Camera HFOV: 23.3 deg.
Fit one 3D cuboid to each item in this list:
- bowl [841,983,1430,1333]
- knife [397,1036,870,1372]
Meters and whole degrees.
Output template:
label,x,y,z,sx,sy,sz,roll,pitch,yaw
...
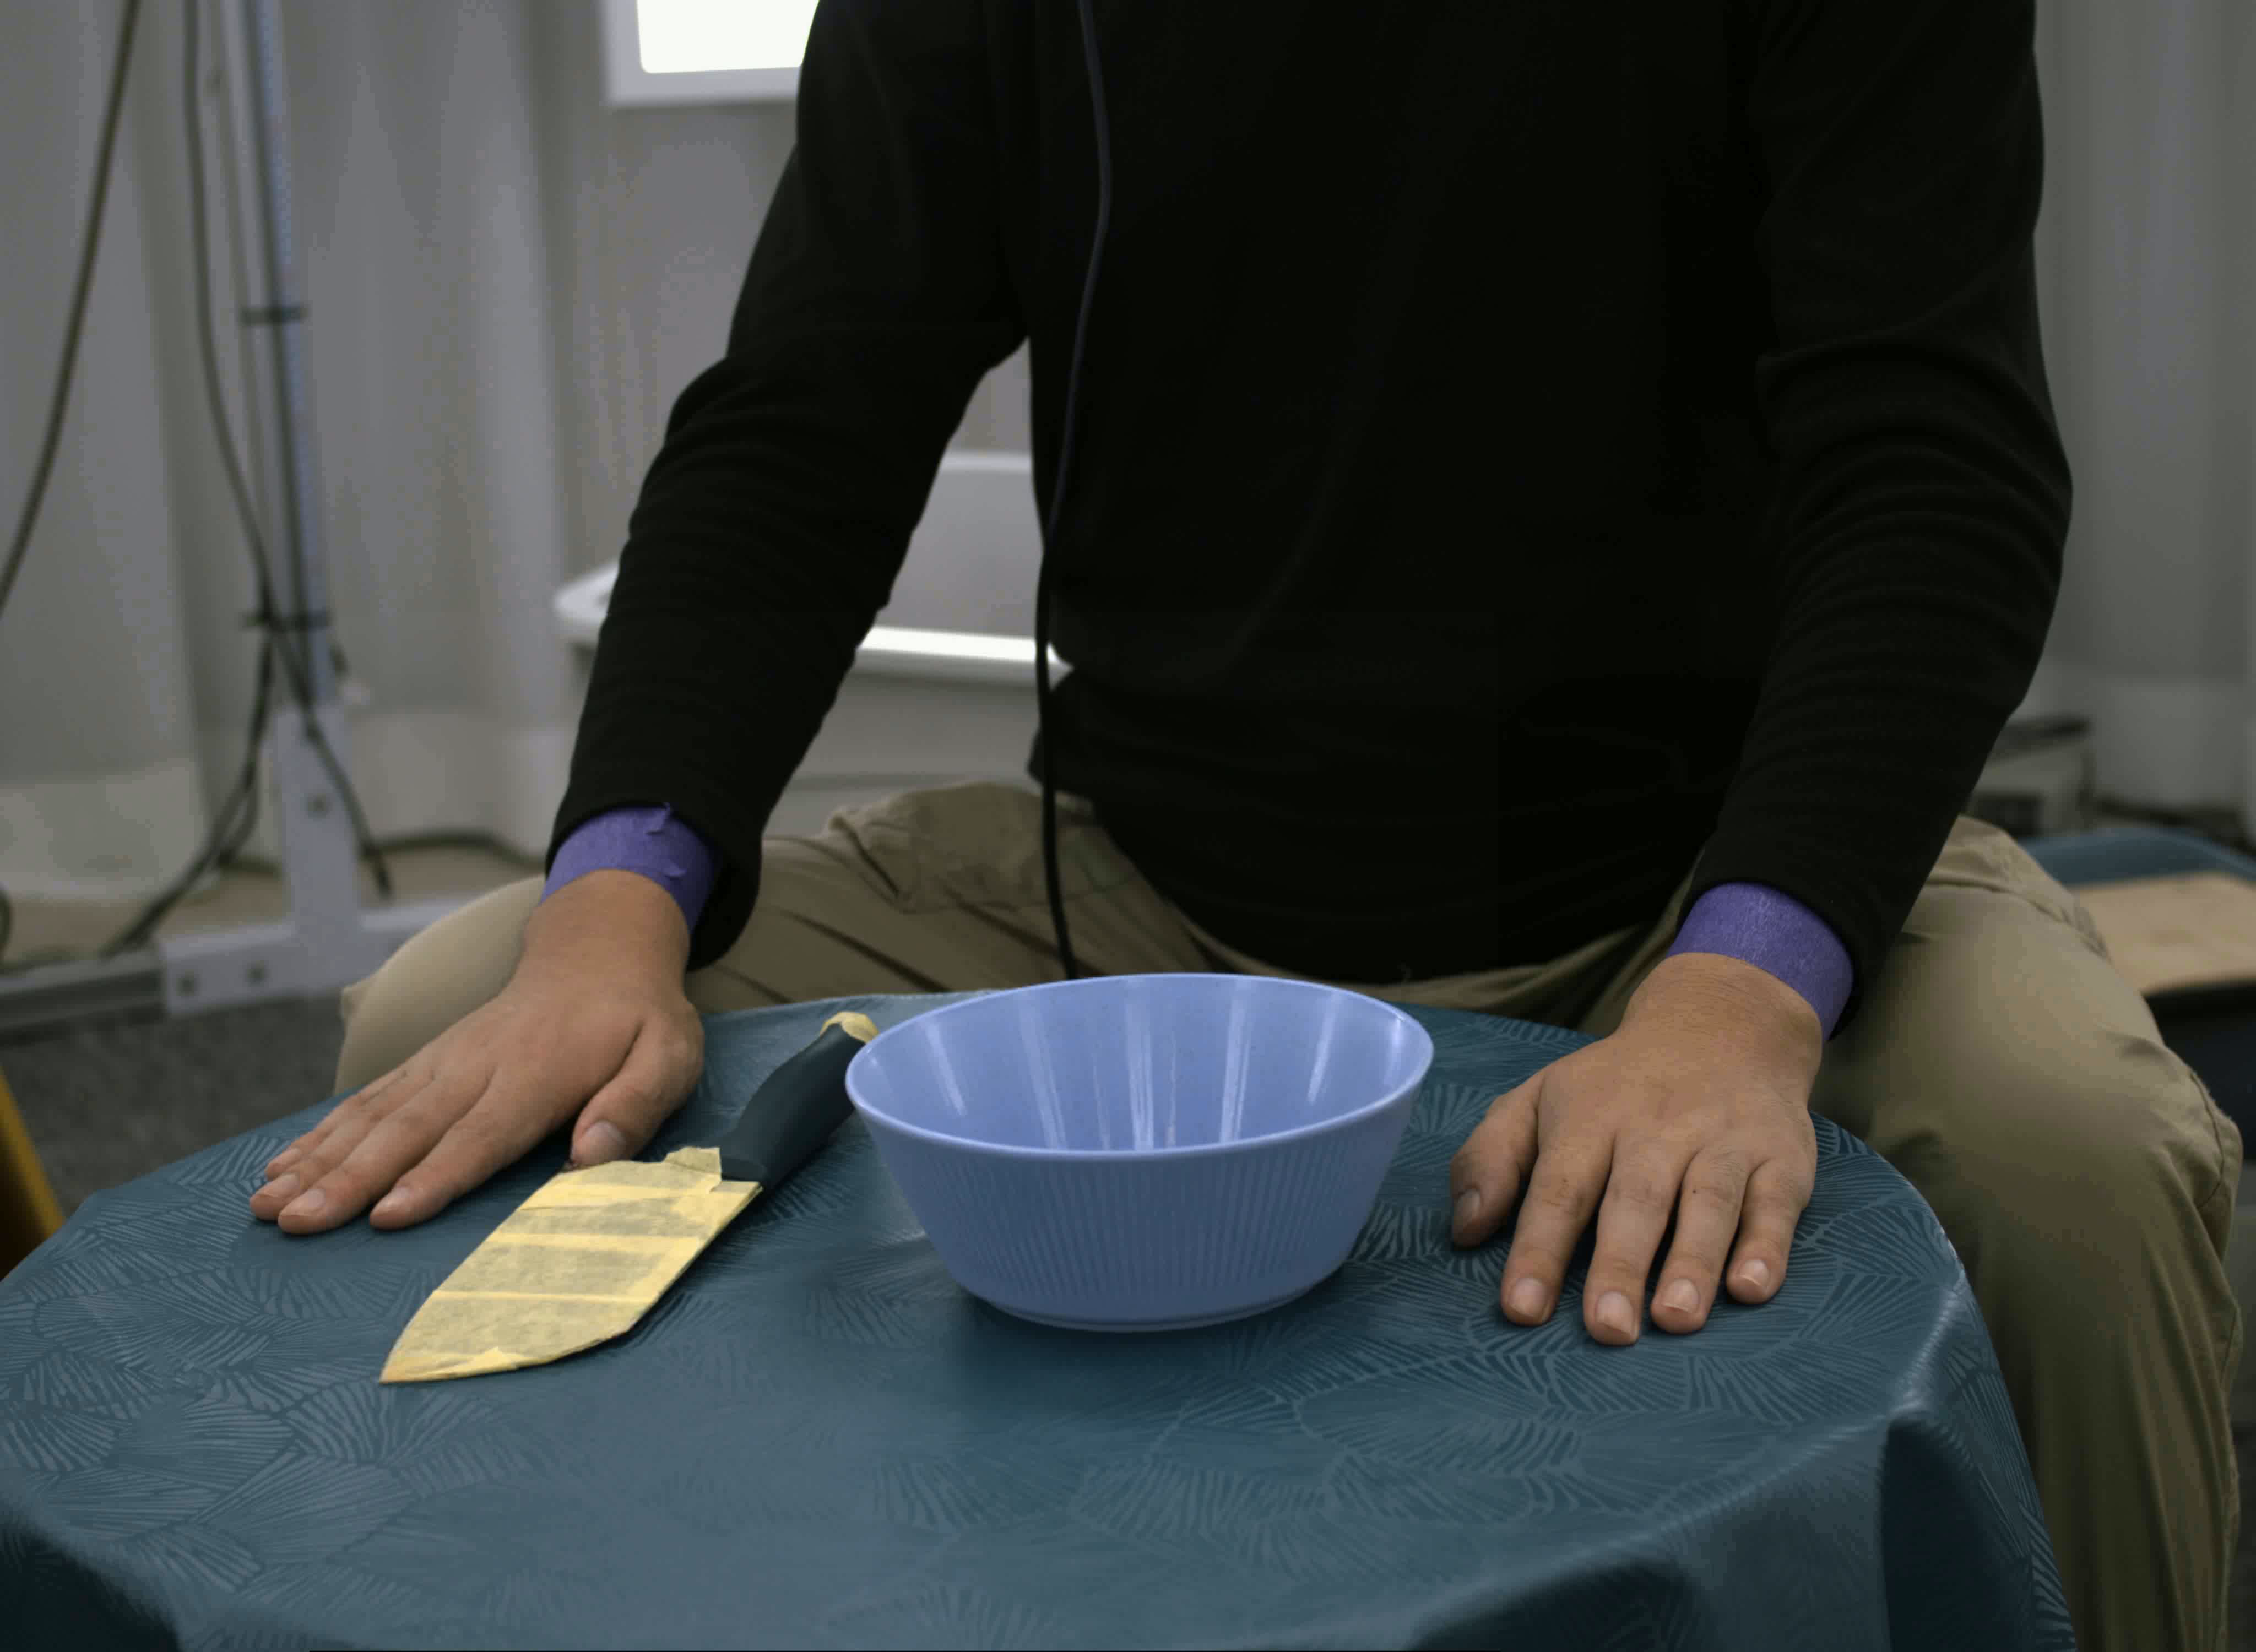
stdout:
label,x,y,z,sx,sy,sz,roll,pitch,yaw
bowl,0.004,0.101,1.632,0.175,0.070,0.177,-3,14,1
knife,-0.149,0.118,1.706,0.081,0.027,0.290,4,17,19
